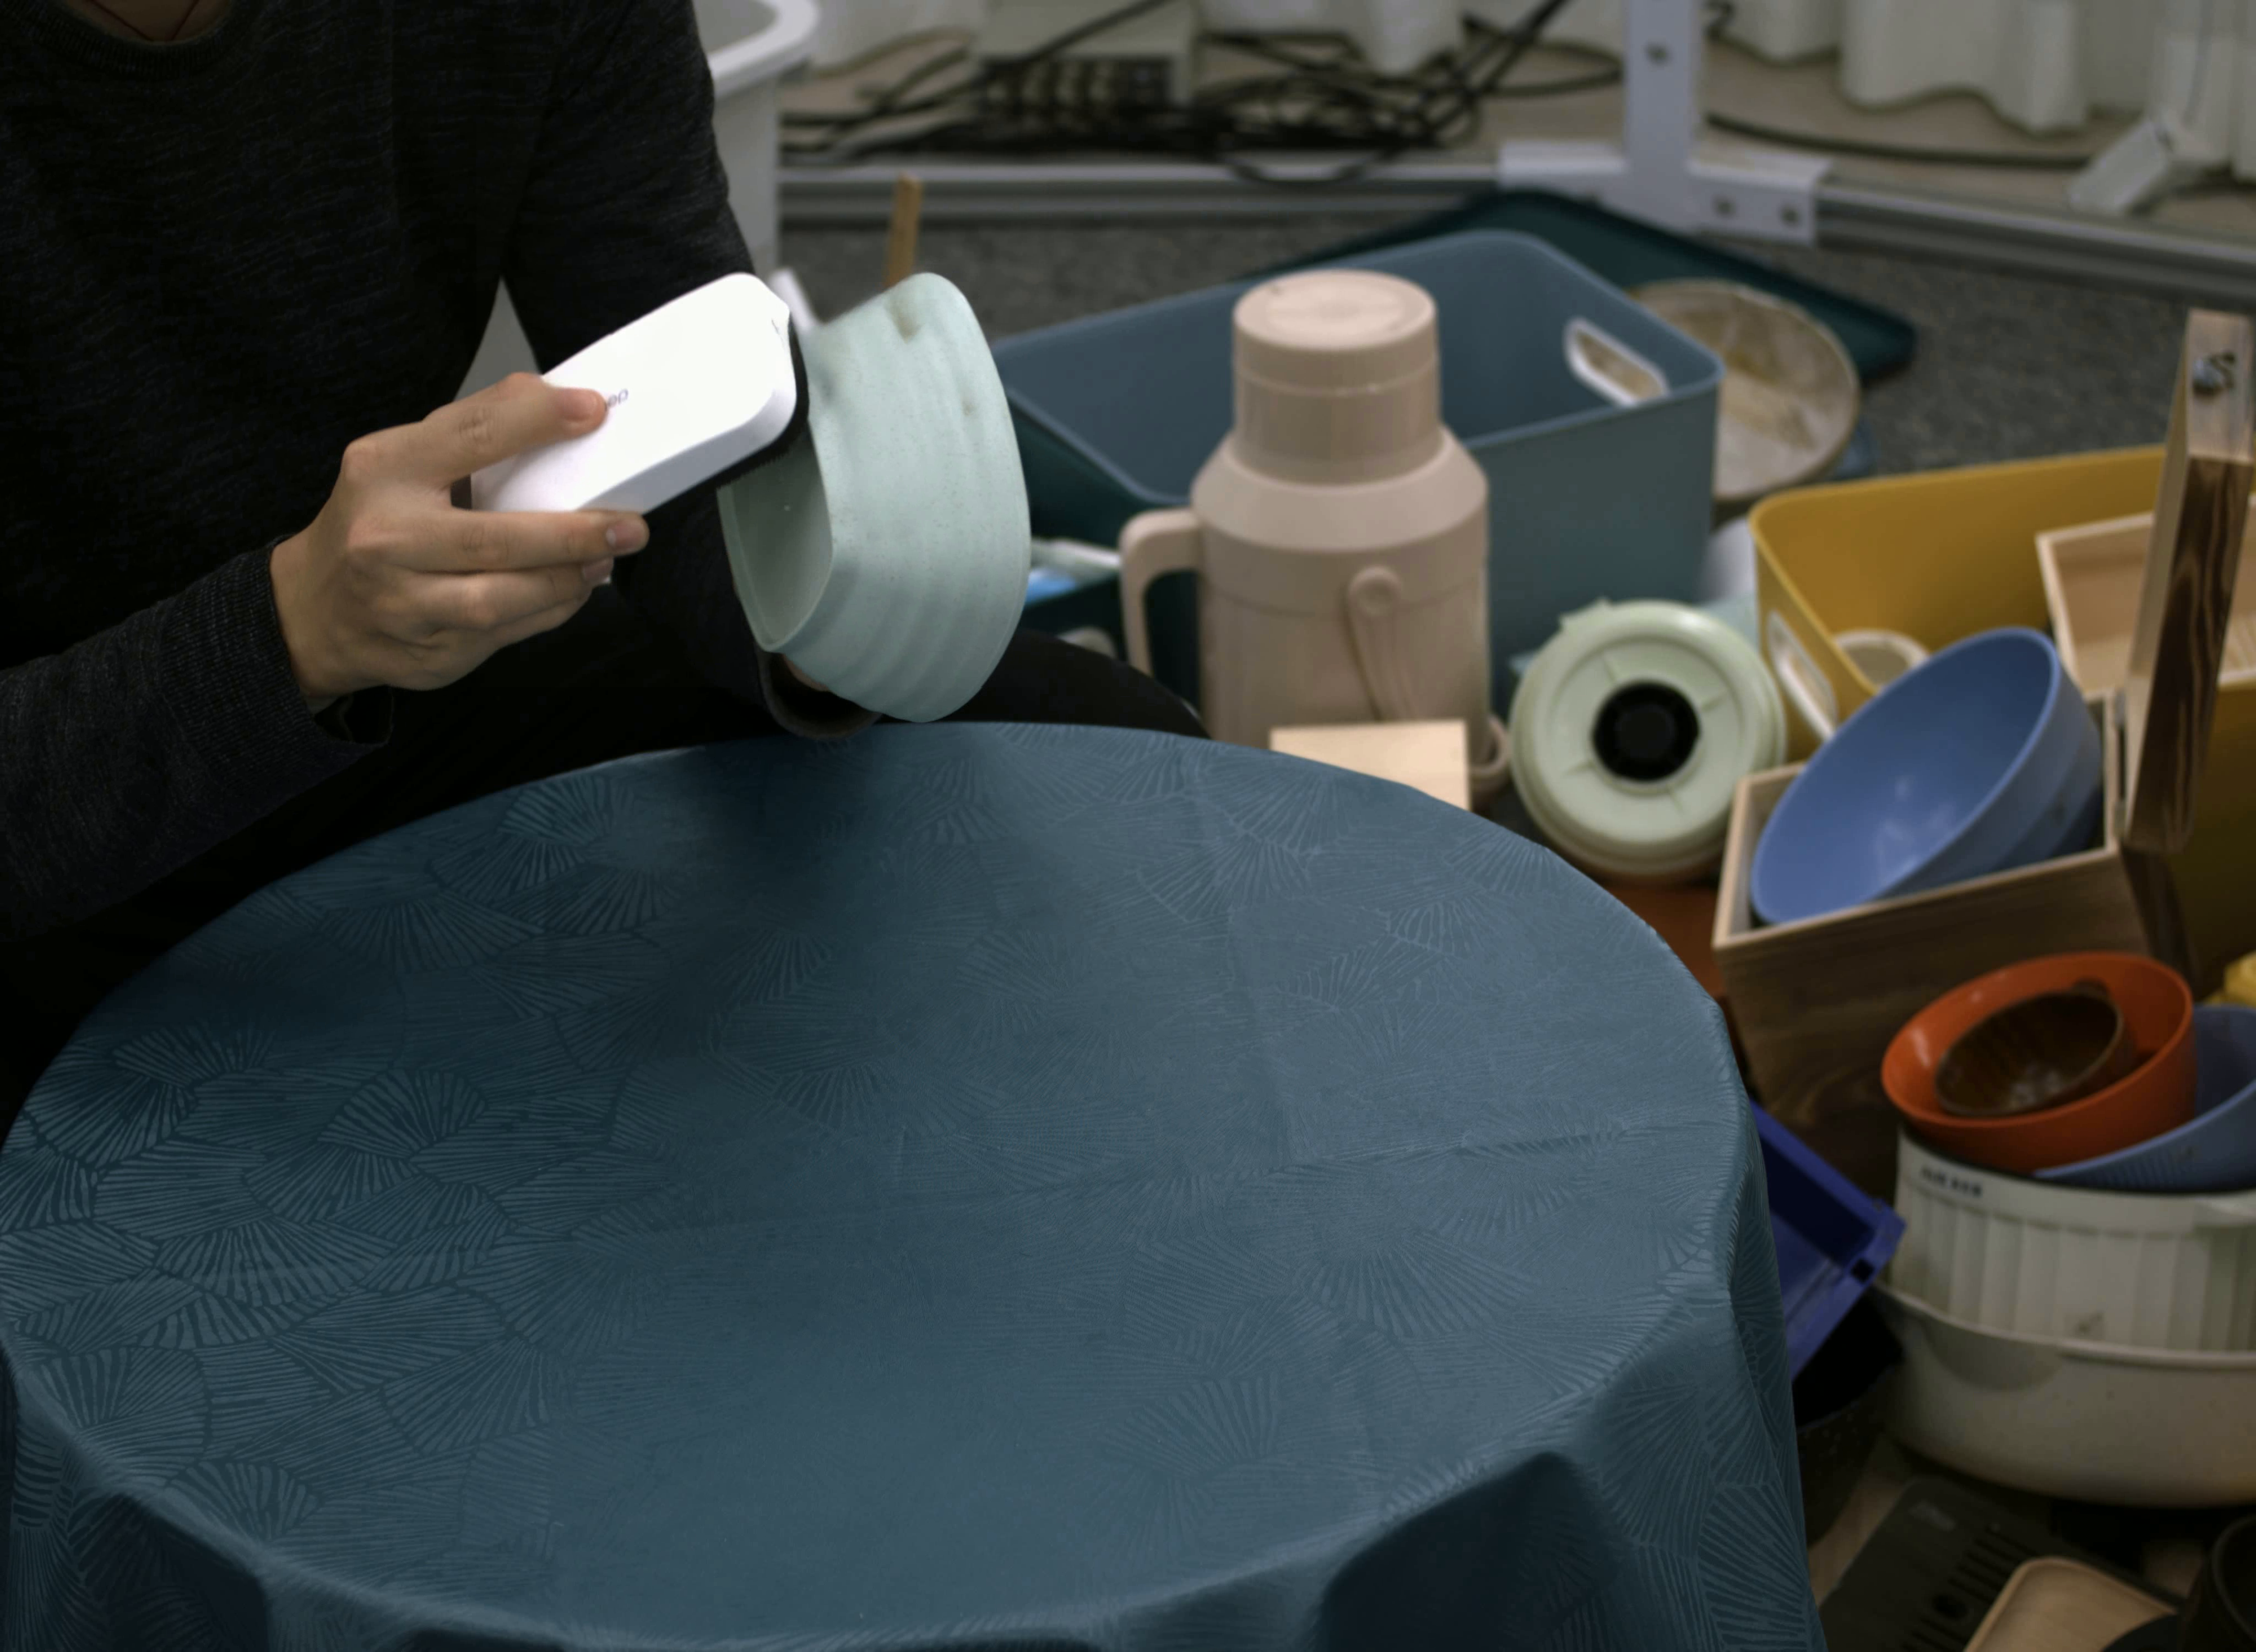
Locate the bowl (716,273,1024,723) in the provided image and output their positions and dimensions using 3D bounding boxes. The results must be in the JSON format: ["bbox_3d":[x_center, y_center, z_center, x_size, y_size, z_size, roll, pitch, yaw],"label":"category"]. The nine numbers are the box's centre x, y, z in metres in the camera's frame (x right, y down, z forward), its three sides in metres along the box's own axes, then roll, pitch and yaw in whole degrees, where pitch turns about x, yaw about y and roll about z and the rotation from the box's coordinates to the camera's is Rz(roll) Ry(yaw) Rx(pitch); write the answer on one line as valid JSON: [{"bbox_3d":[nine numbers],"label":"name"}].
[{"bbox_3d":[-0.091,-0.105,1.844,0.059,0.150,0.152,-5,25,-26],"label":"bowl"}]

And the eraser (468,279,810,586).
[{"bbox_3d":[-0.161,-0.128,1.826,0.129,0.034,0.064,-25,52,27],"label":"eraser"}]
